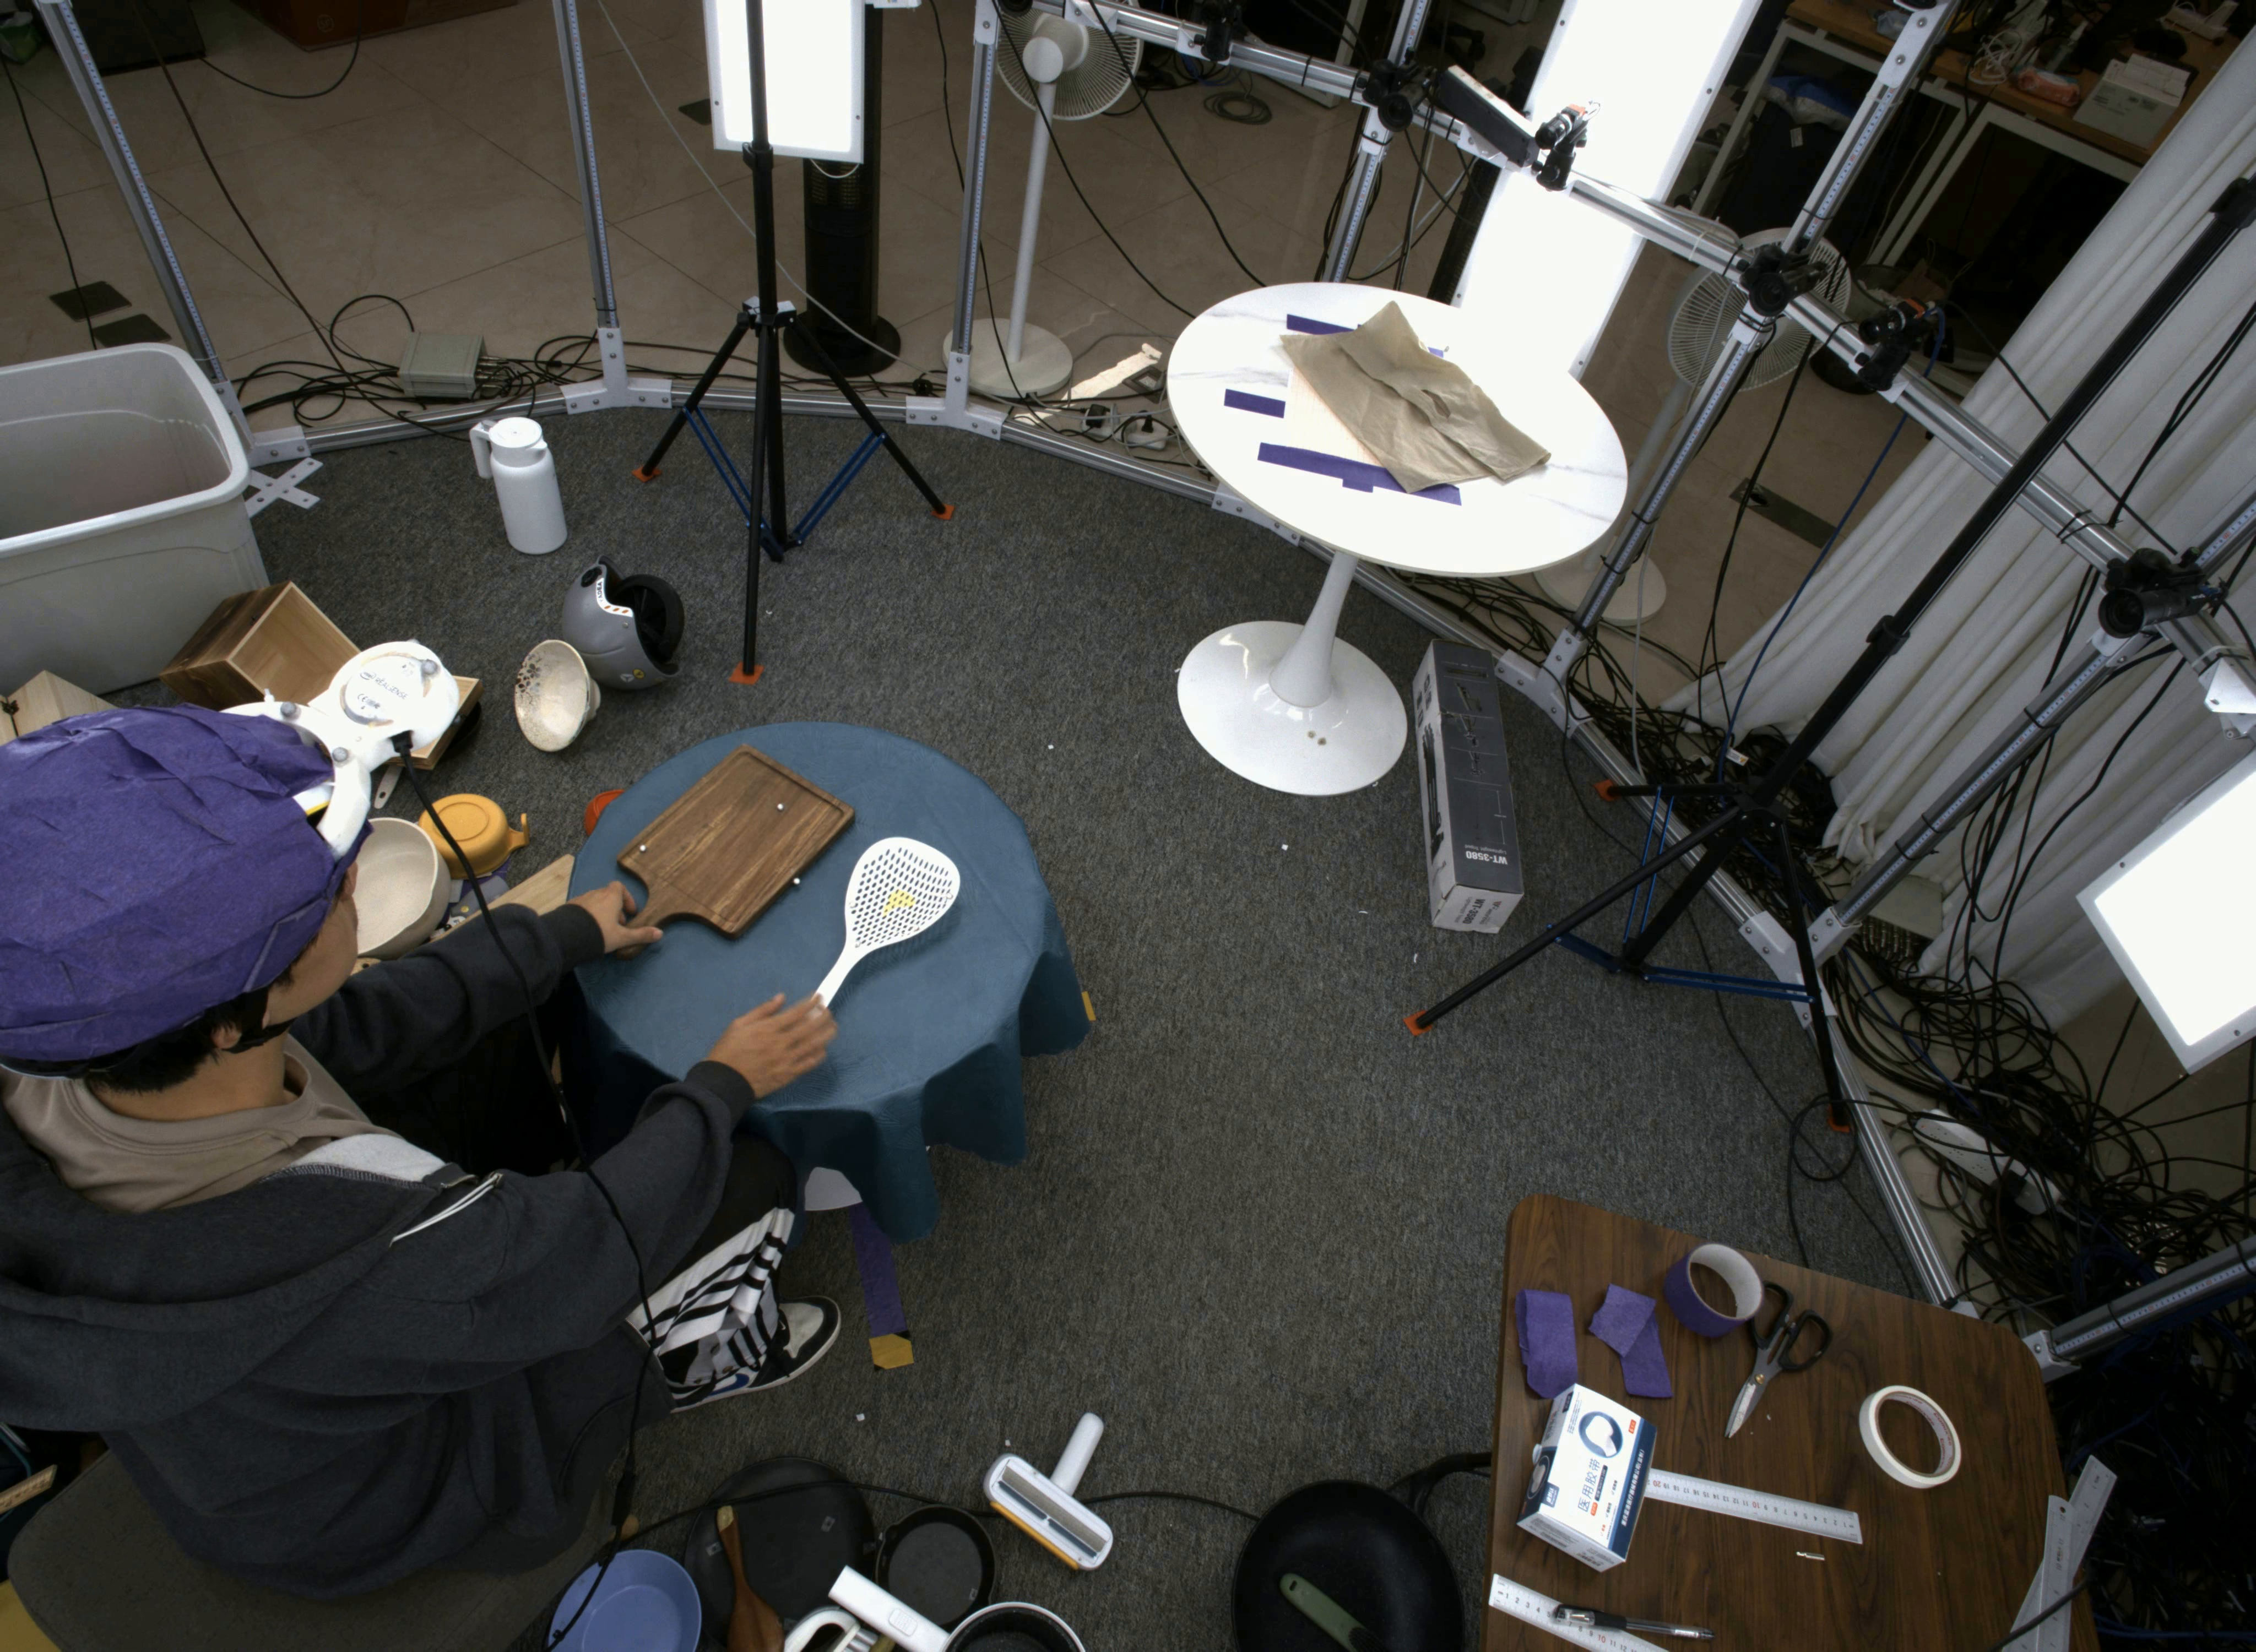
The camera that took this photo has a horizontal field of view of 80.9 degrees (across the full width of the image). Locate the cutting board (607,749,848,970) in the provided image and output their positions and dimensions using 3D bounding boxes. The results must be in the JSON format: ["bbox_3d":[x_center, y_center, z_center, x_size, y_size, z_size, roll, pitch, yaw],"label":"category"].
[{"bbox_3d":[-0.540,0.050,1.648,0.197,0.023,0.351,30,52,9],"label":"cutting board"}]

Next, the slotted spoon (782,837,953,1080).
[{"bbox_3d":[-0.338,0.157,1.607,0.135,0.051,0.345,26,52,3],"label":"slotted spoon"}]
